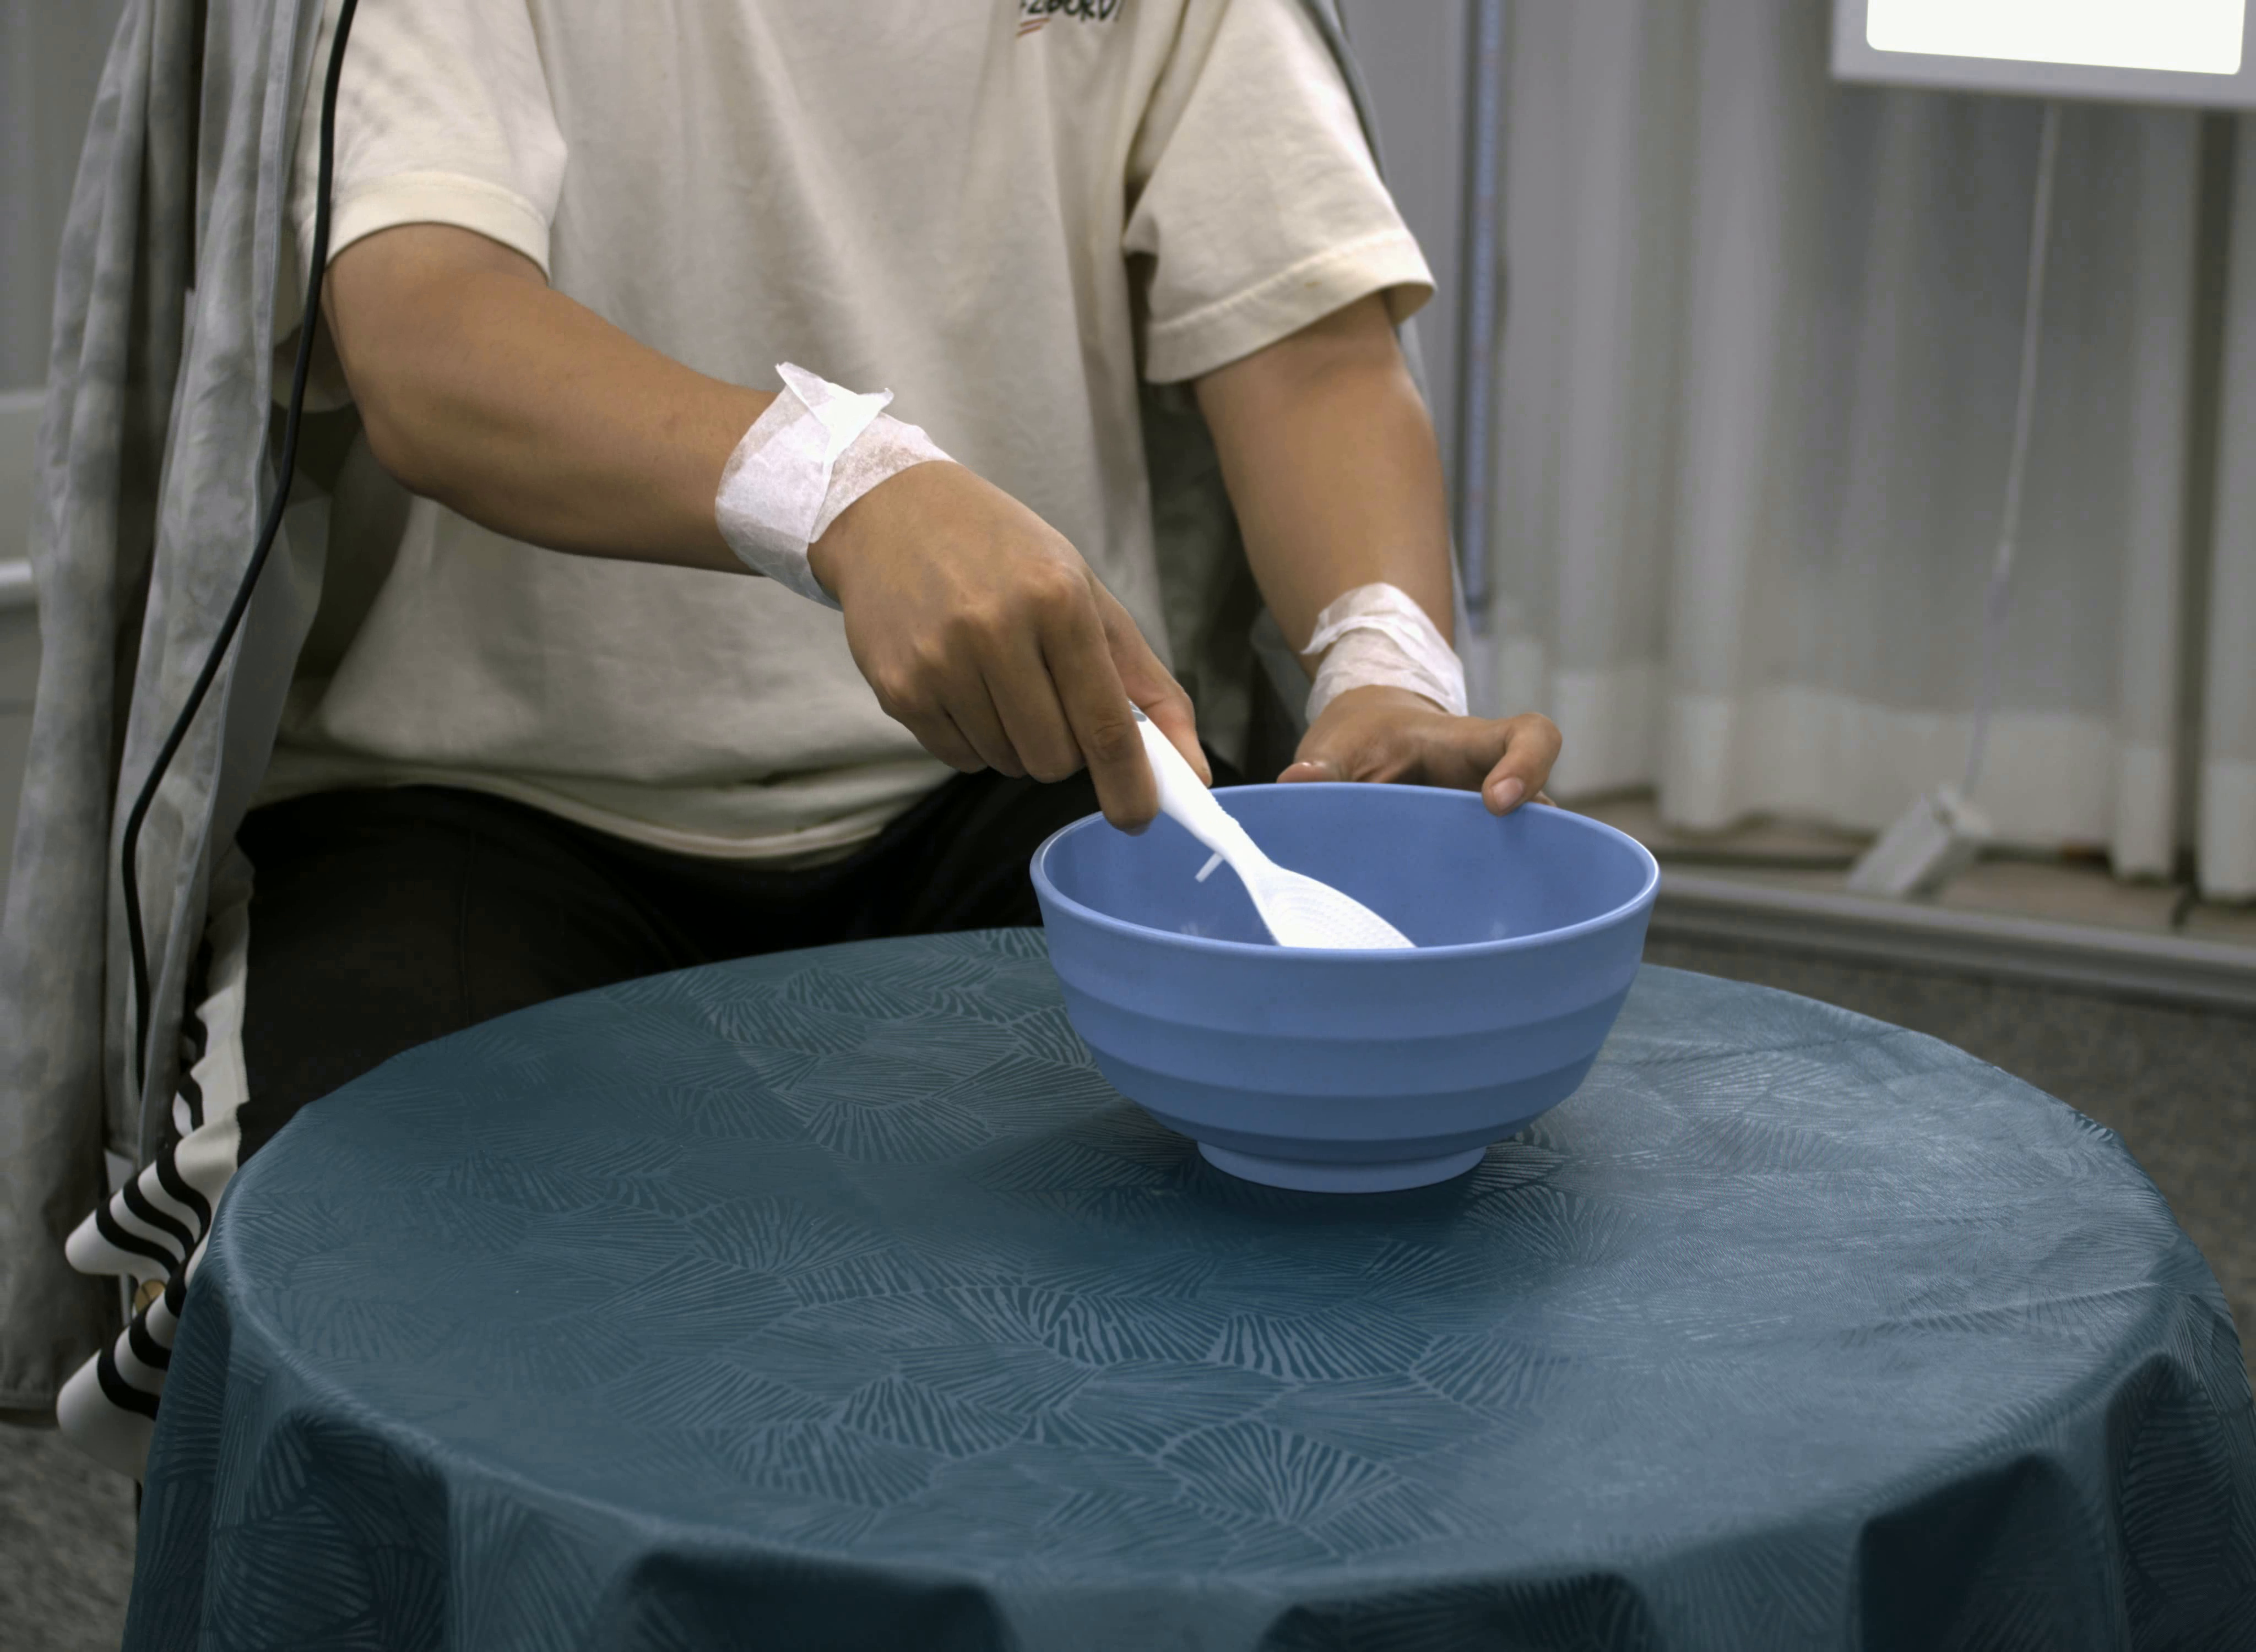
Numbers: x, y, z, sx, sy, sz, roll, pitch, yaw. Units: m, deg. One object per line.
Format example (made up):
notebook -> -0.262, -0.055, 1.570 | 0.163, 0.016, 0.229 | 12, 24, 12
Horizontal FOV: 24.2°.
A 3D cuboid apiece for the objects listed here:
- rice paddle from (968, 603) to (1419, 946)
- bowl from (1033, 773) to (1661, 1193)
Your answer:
rice paddle -> 0.035, 0.009, 1.650 | 0.205, 0.029, 0.068 | 42, 29, -2
bowl -> 0.068, 0.055, 1.655 | 0.196, 0.096, 0.195 | 1, 17, 0
